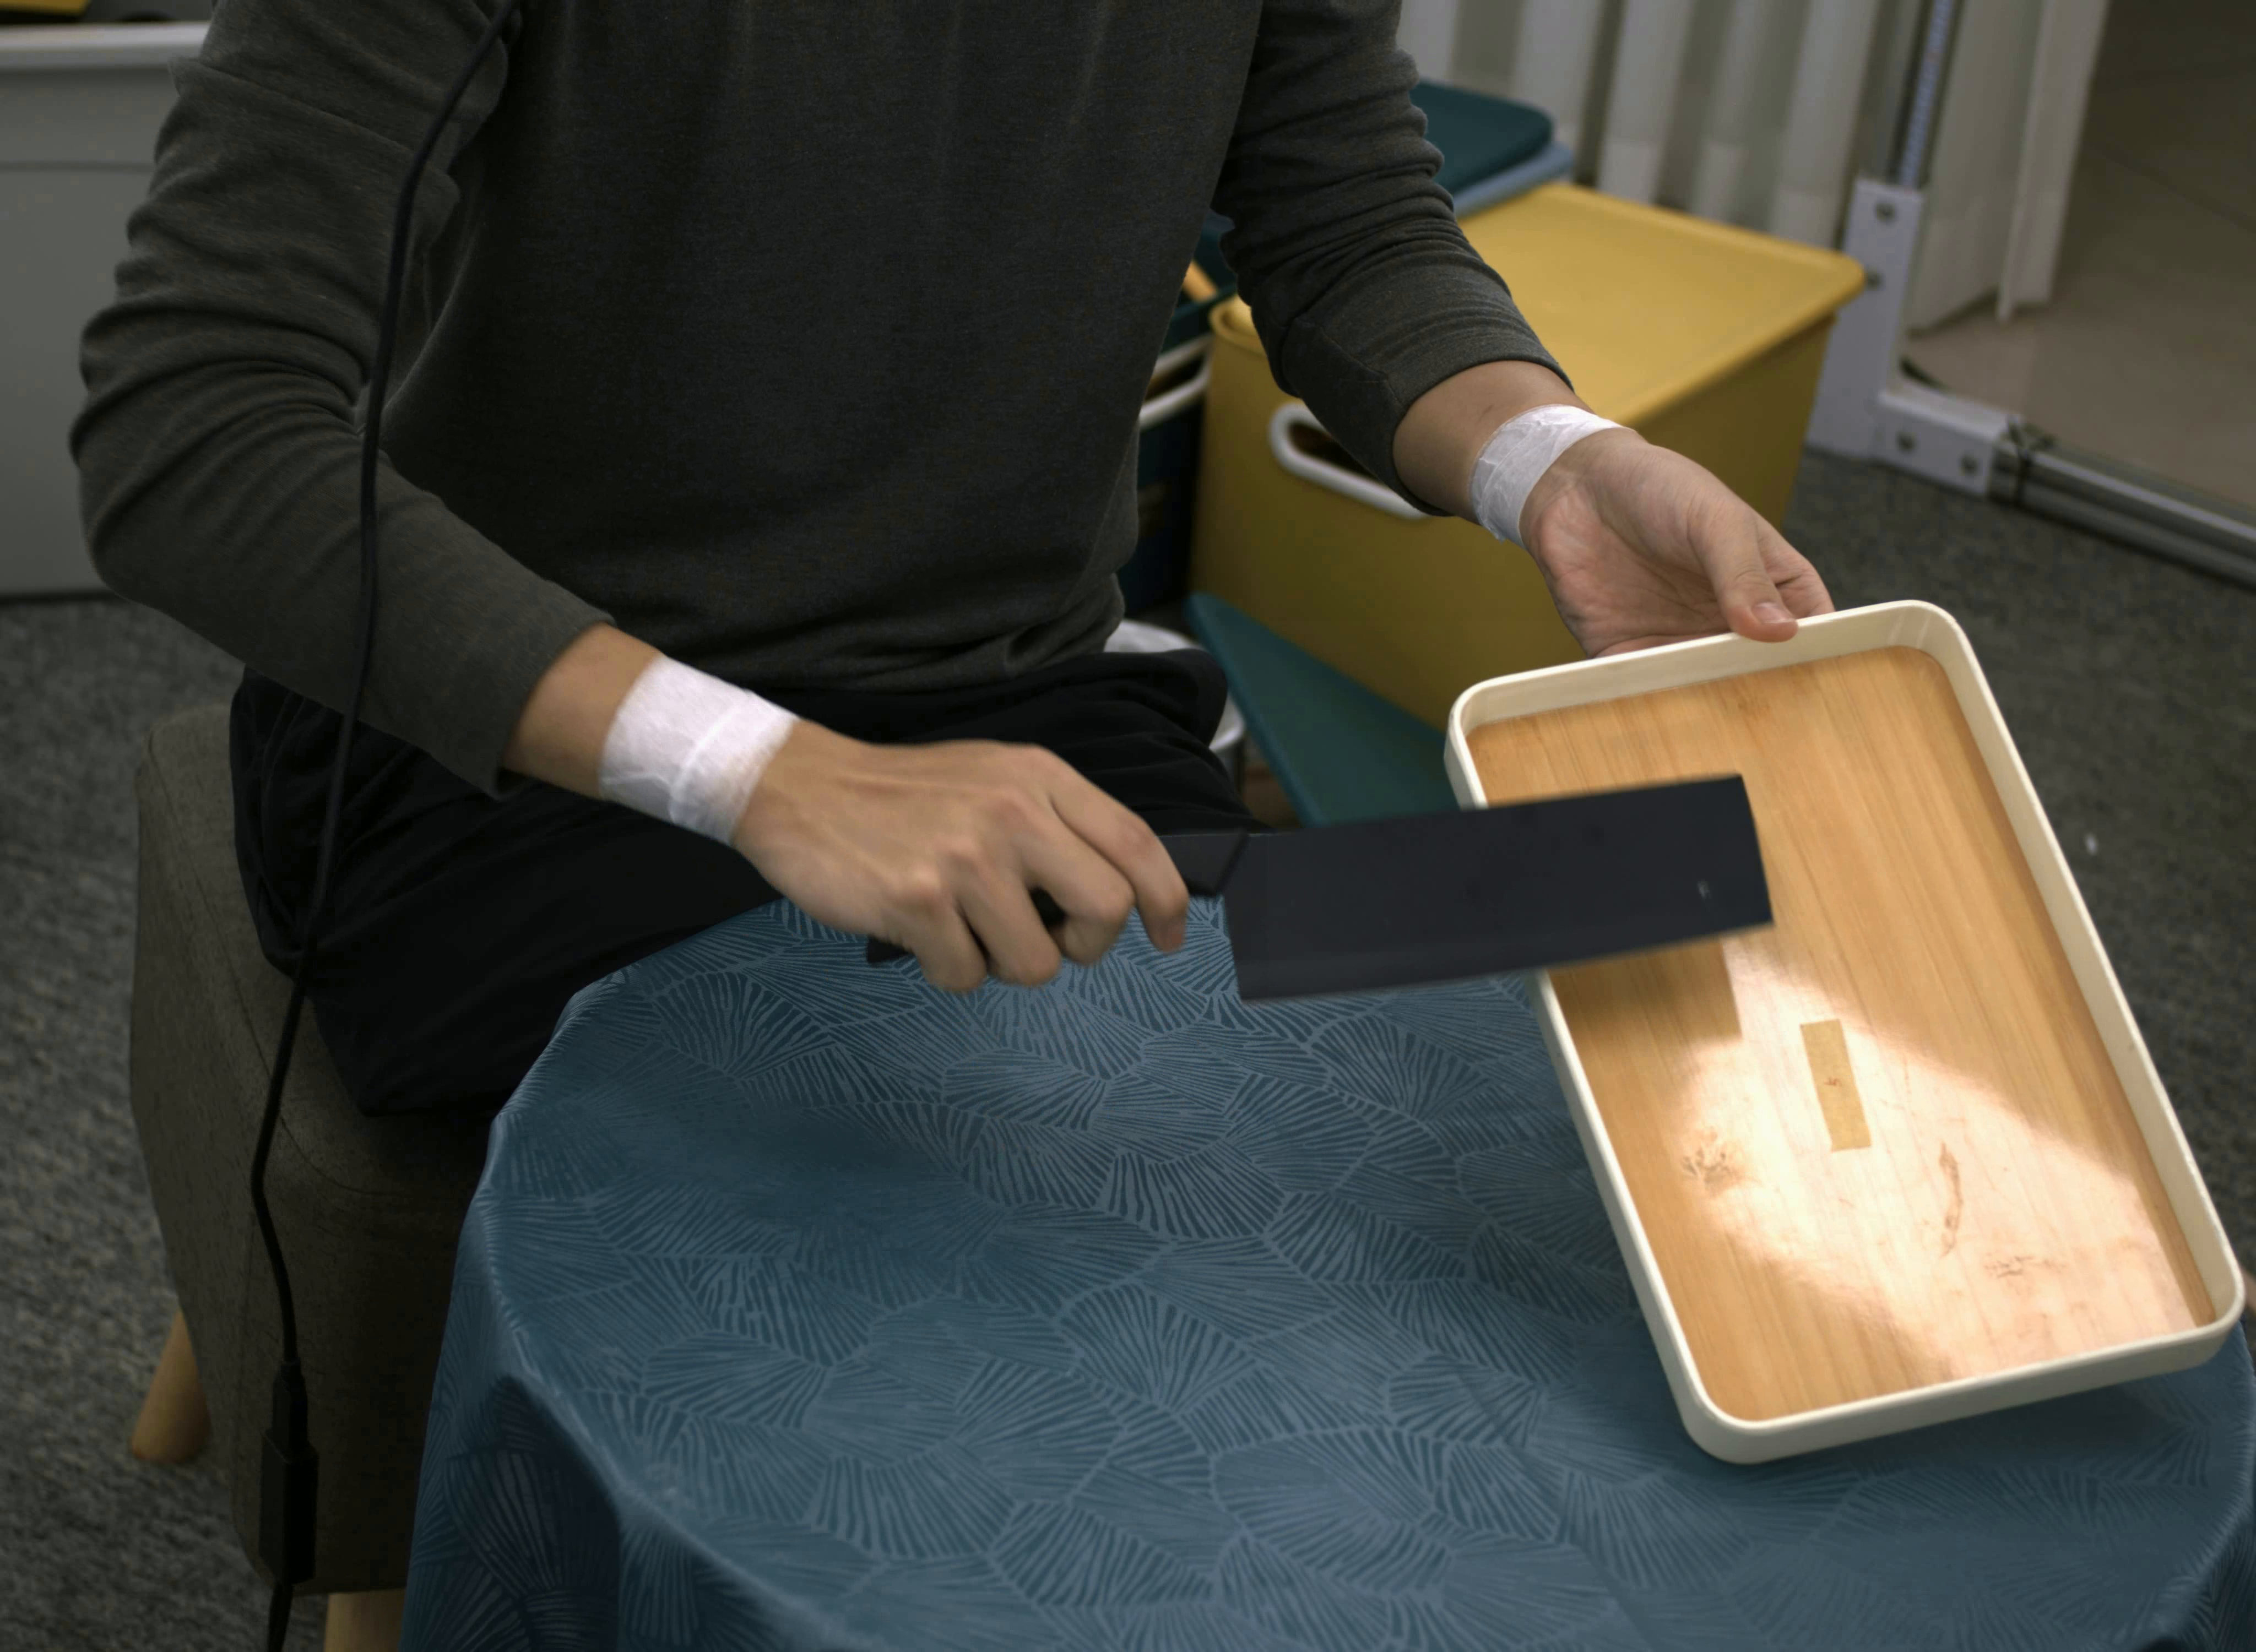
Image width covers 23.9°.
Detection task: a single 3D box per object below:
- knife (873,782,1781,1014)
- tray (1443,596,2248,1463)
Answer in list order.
[{"bbox_3d":[0.065,0.028,1.772,0.301,0.021,0.081,-4,58,3],"label":"knife"},{"bbox_3d":[0.235,0.062,1.777,0.191,0.027,0.303,-11,57,-11],"label":"tray"}]
